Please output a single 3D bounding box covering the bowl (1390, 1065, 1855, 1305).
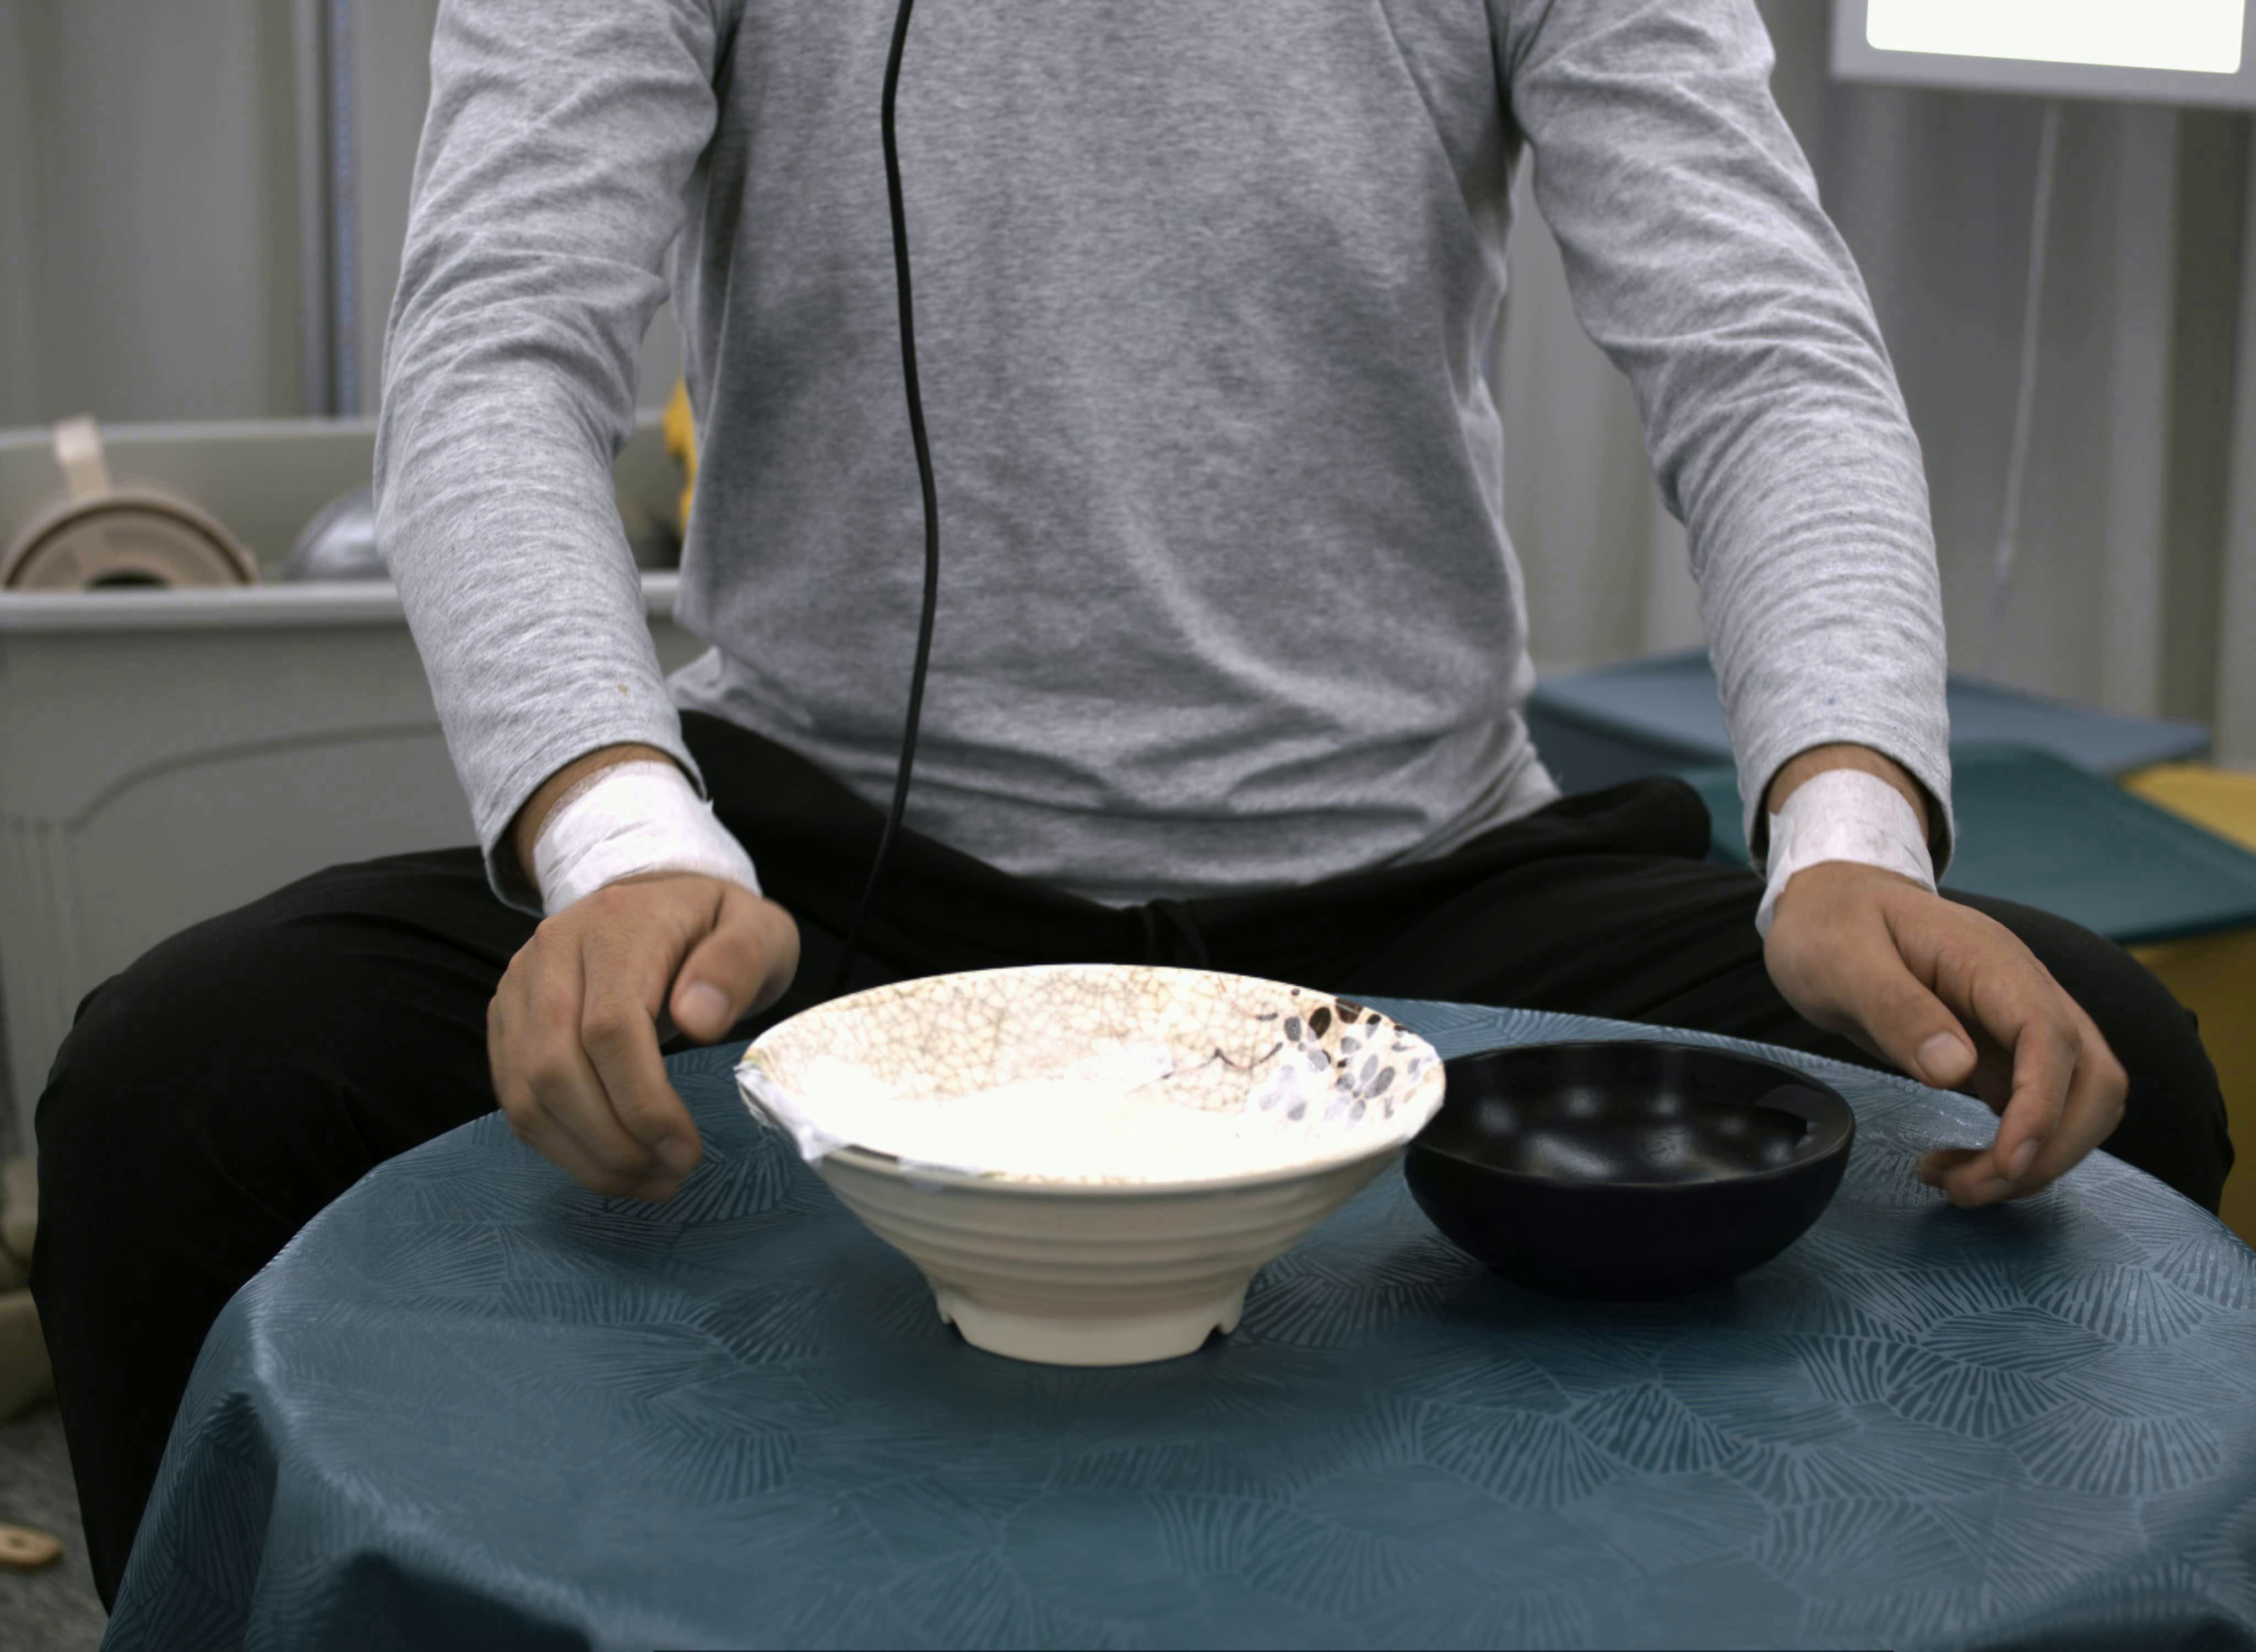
[{"bbox_3d":[0.145,0.109,1.562,0.139,0.050,0.139,2,10,0],"label":"bowl"}]

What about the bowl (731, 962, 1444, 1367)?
[{"bbox_3d":[-0.012,0.104,1.508,0.203,0.078,0.203,1,15,0],"label":"bowl"}]
